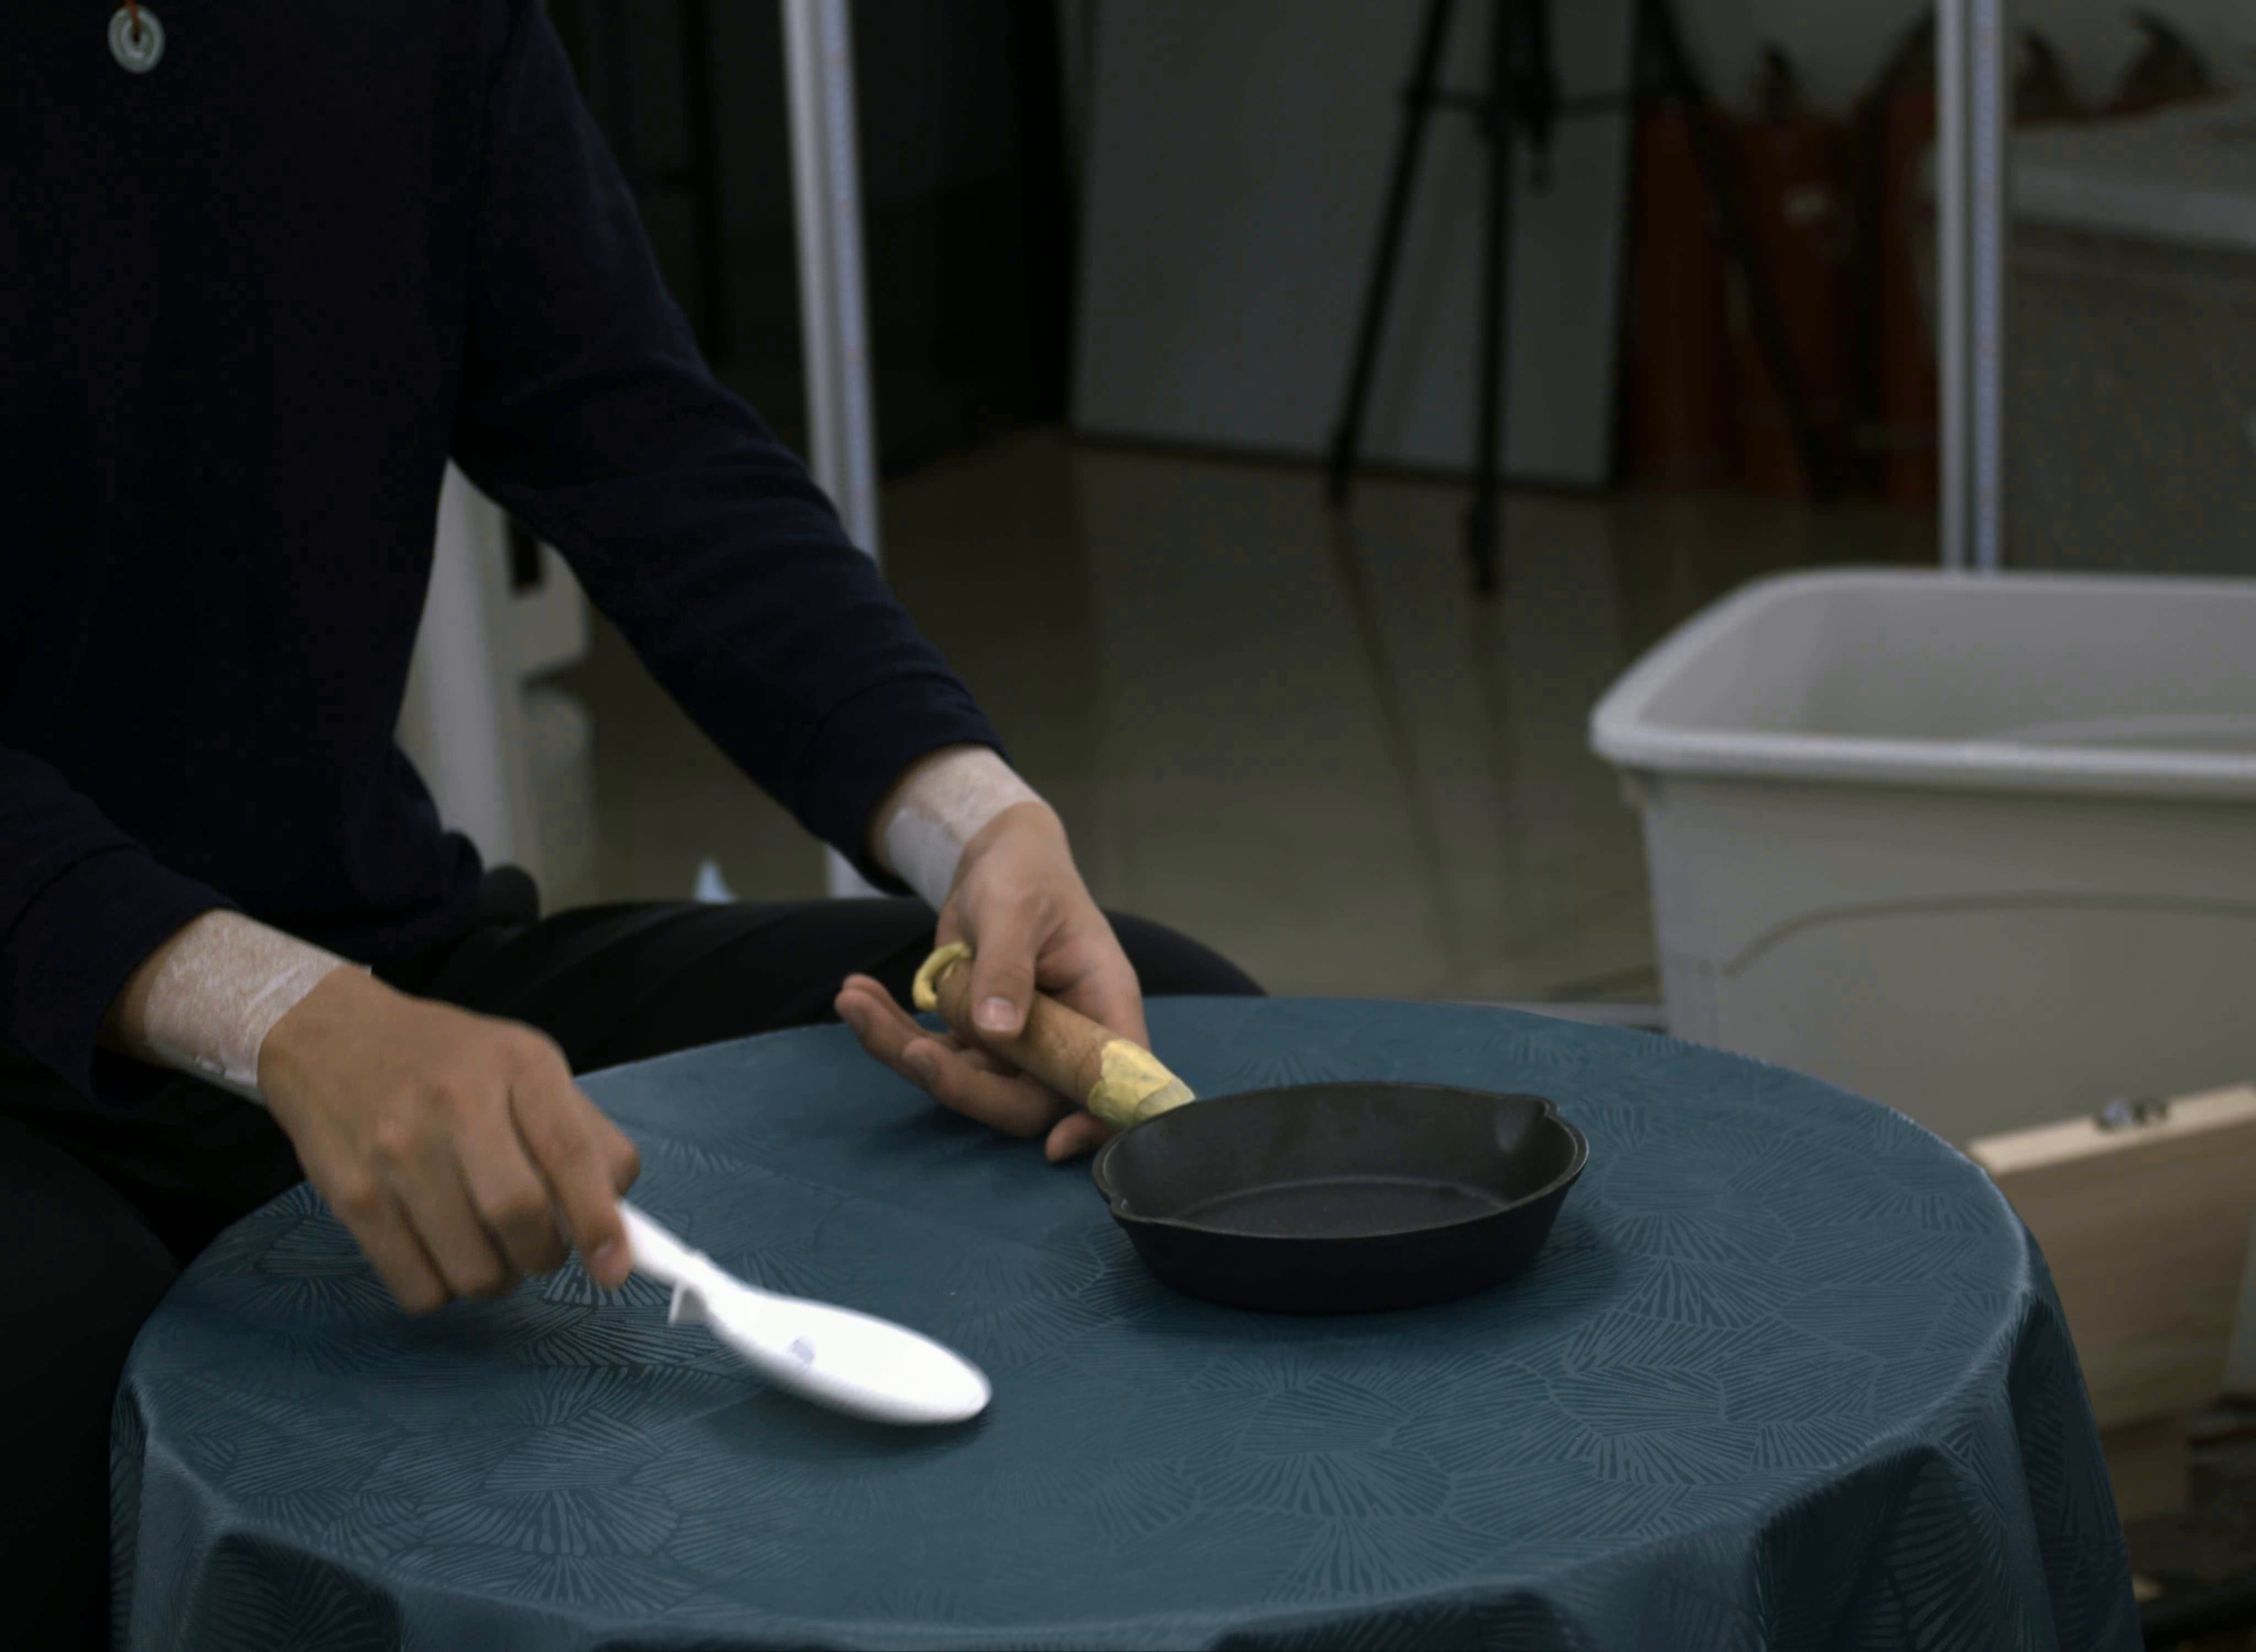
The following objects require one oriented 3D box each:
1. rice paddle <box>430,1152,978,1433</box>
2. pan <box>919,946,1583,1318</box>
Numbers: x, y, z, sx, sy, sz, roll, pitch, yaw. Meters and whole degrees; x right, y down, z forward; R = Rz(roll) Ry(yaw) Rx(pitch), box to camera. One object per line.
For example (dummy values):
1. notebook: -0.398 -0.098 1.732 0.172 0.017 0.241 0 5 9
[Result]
1. rice paddle: -0.127 0.142 1.613 0.207 0.030 0.067 19 18 37
2. pan: 0.022 0.096 1.763 0.165 0.050 0.328 -12 17 -30
